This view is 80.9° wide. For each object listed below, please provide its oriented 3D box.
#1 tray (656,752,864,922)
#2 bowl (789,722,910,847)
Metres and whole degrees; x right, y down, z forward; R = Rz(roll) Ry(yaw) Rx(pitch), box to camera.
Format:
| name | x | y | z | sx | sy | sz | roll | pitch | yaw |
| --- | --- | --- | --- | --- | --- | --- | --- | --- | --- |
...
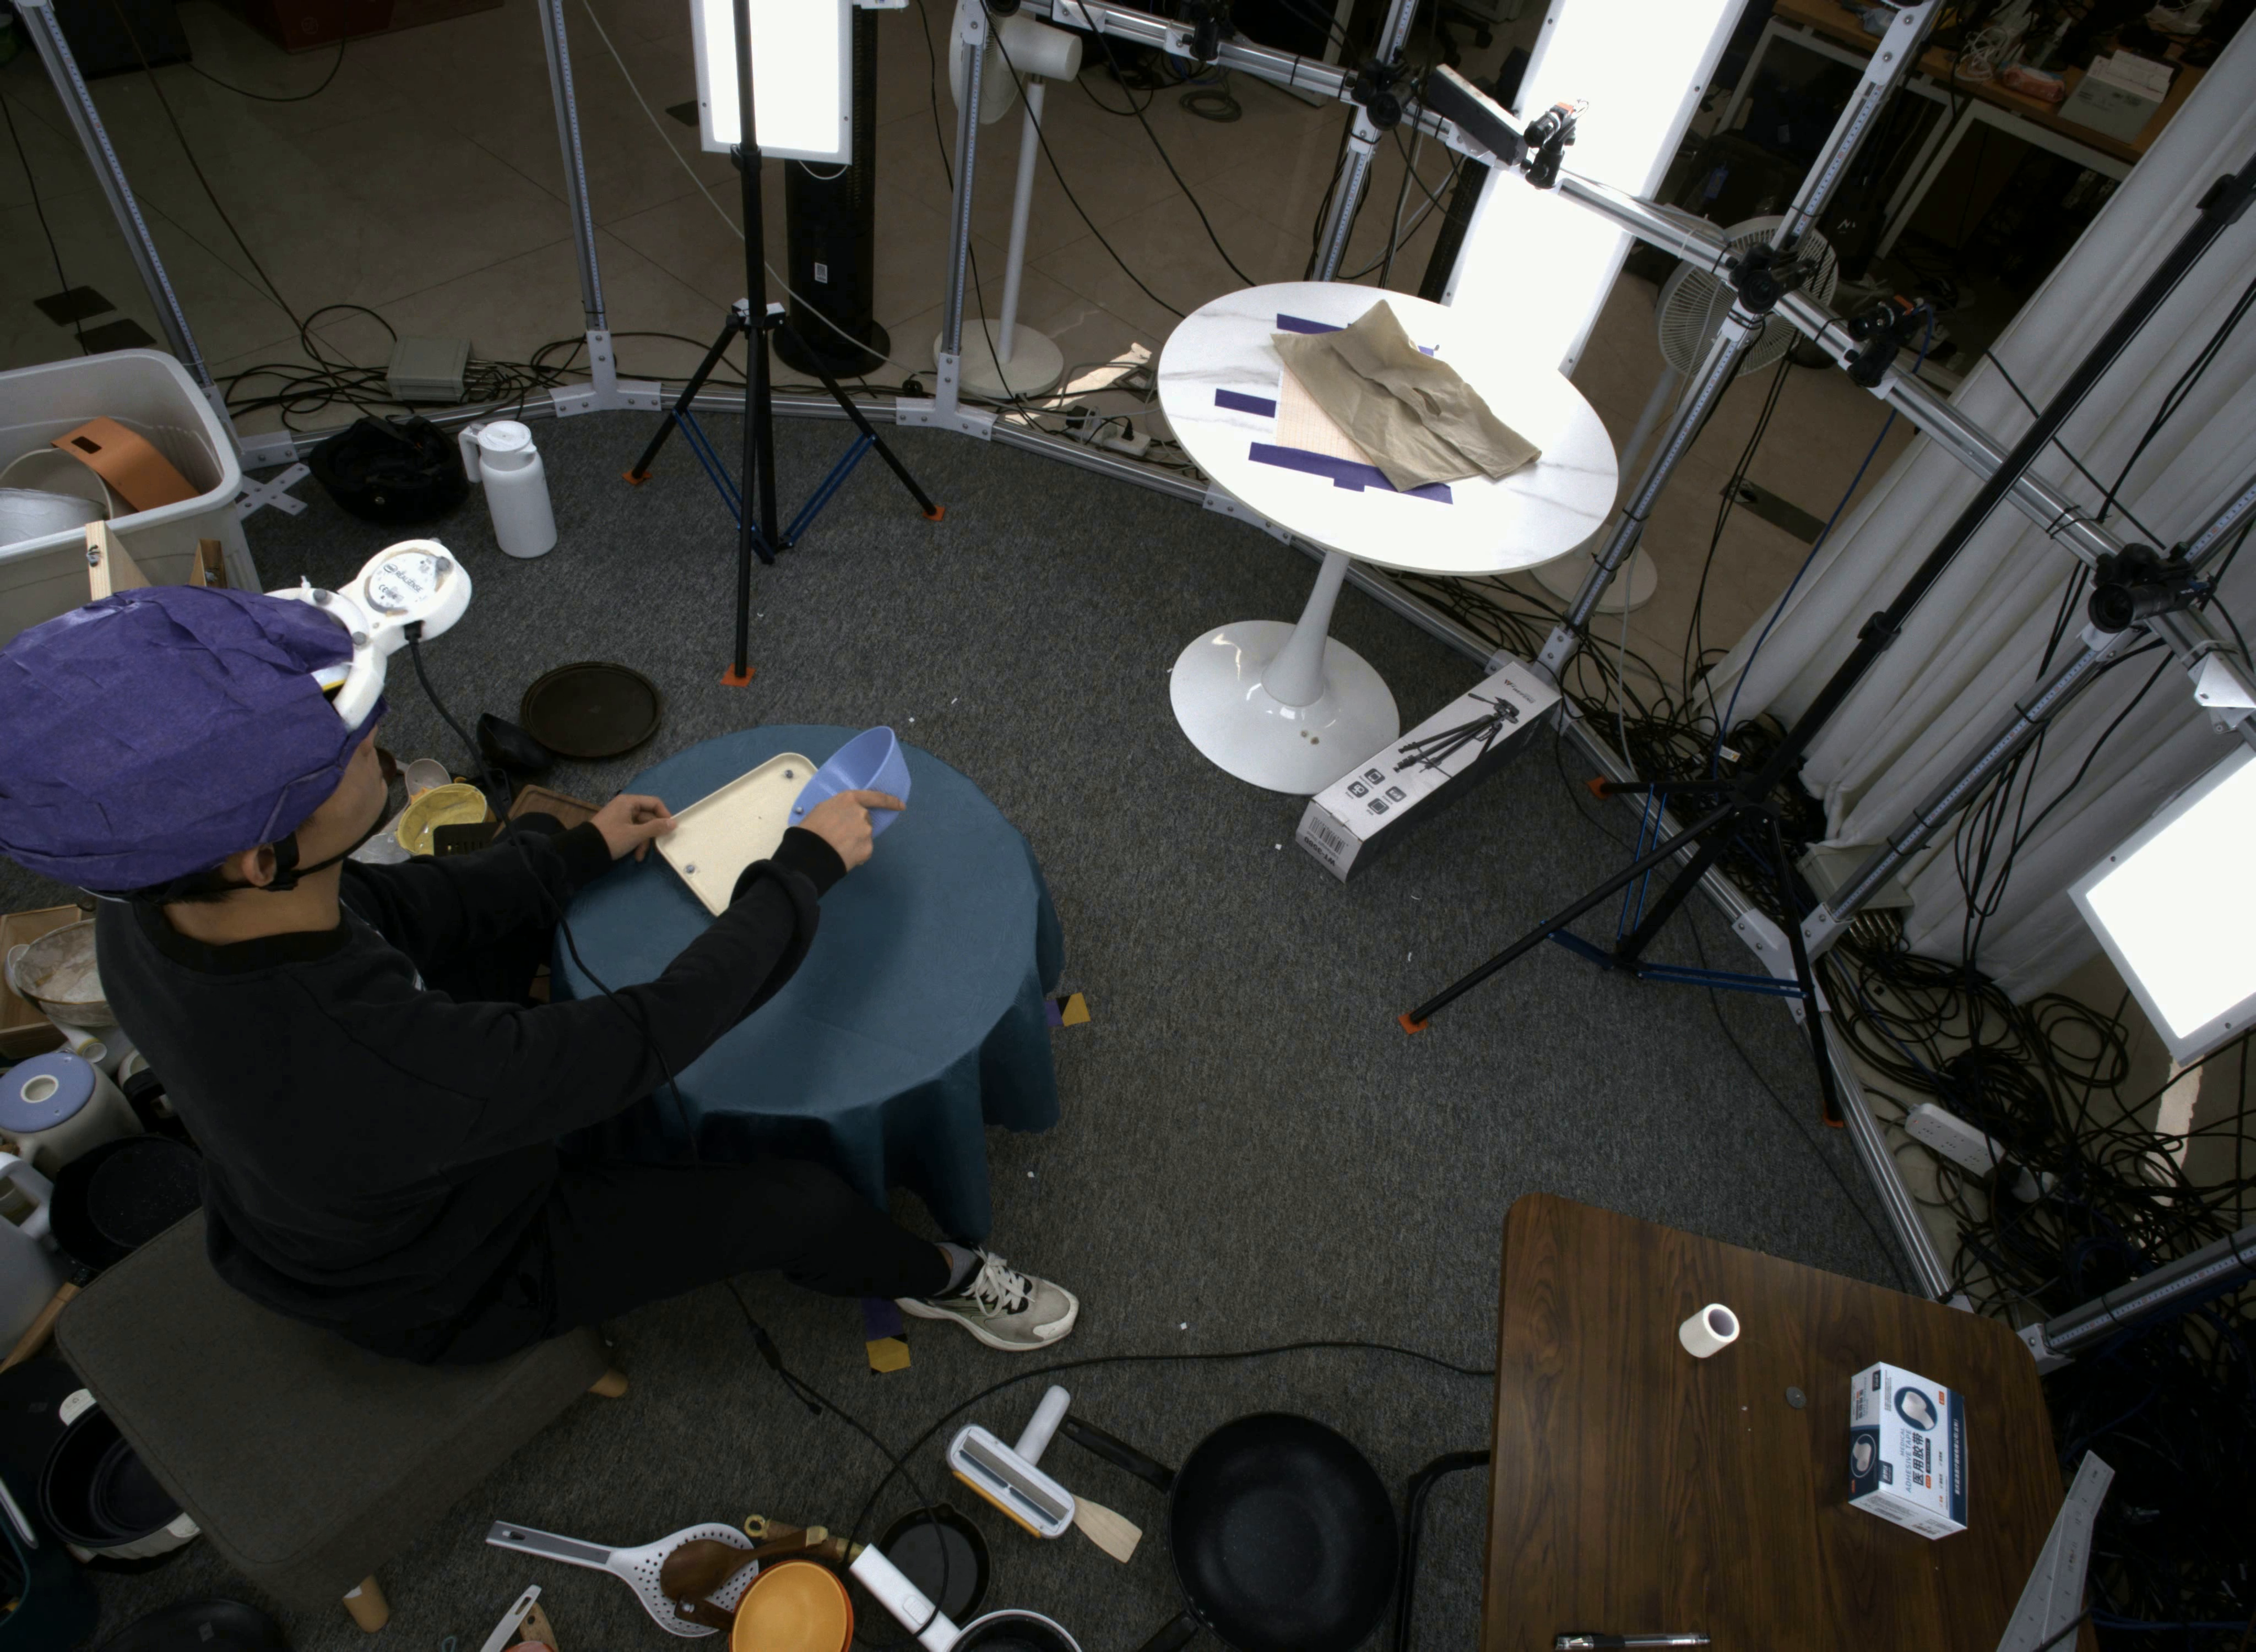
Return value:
| name | x | y | z | sx | sy | sz | roll | pitch | yaw |
| --- | --- | --- | --- | --- | --- | --- | --- | --- | --- |
| tray | -0.475 | 0.011 | 1.682 | 0.169 | 0.017 | 0.240 | 46 | 56 | 10 |
| bowl | -0.334 | -0.041 | 1.604 | 0.073 | 0.172 | 0.174 | 47 | 43 | -29 |
